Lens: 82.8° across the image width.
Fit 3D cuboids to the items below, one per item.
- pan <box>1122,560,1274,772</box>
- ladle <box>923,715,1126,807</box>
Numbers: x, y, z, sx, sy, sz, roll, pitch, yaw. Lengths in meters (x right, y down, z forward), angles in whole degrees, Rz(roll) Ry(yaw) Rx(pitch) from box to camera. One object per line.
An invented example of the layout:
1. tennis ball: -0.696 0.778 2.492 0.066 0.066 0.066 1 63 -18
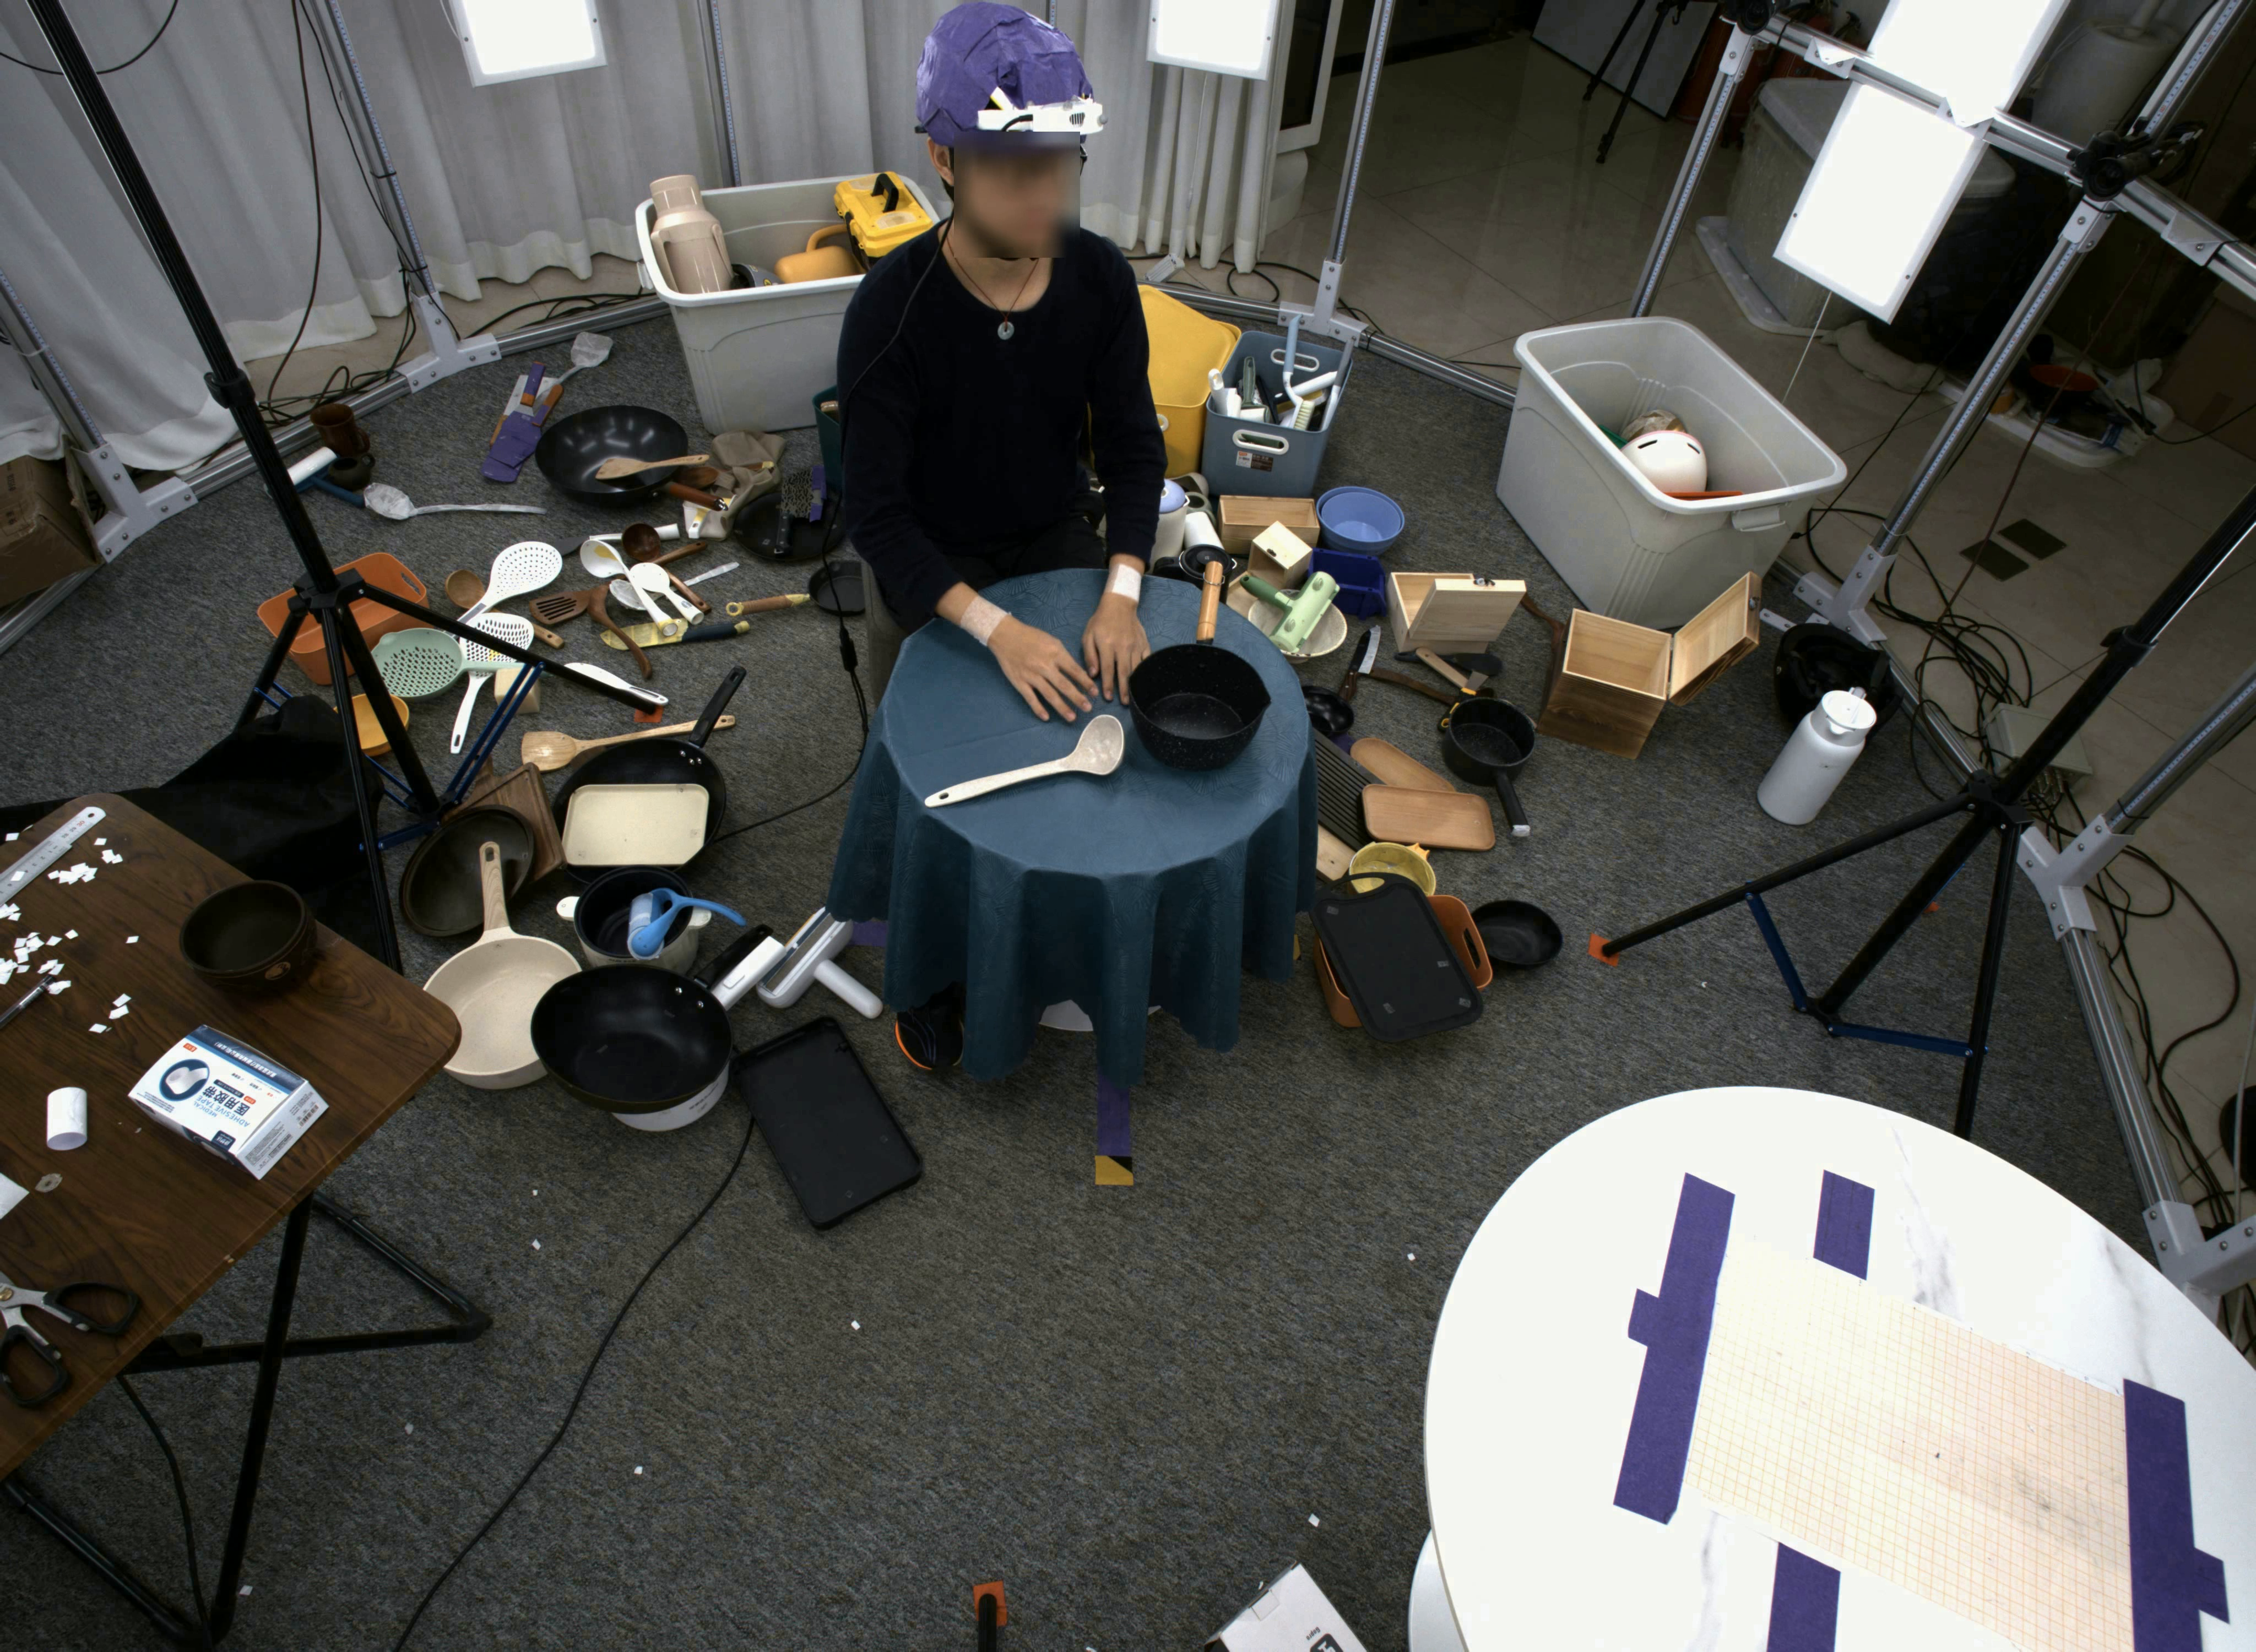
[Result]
1. pan: 0.101 -0.225 1.801 0.207 0.105 0.351 6 50 3
2. ladle: -0.135 -0.081 1.685 0.275 0.068 0.091 -14 57 -16
